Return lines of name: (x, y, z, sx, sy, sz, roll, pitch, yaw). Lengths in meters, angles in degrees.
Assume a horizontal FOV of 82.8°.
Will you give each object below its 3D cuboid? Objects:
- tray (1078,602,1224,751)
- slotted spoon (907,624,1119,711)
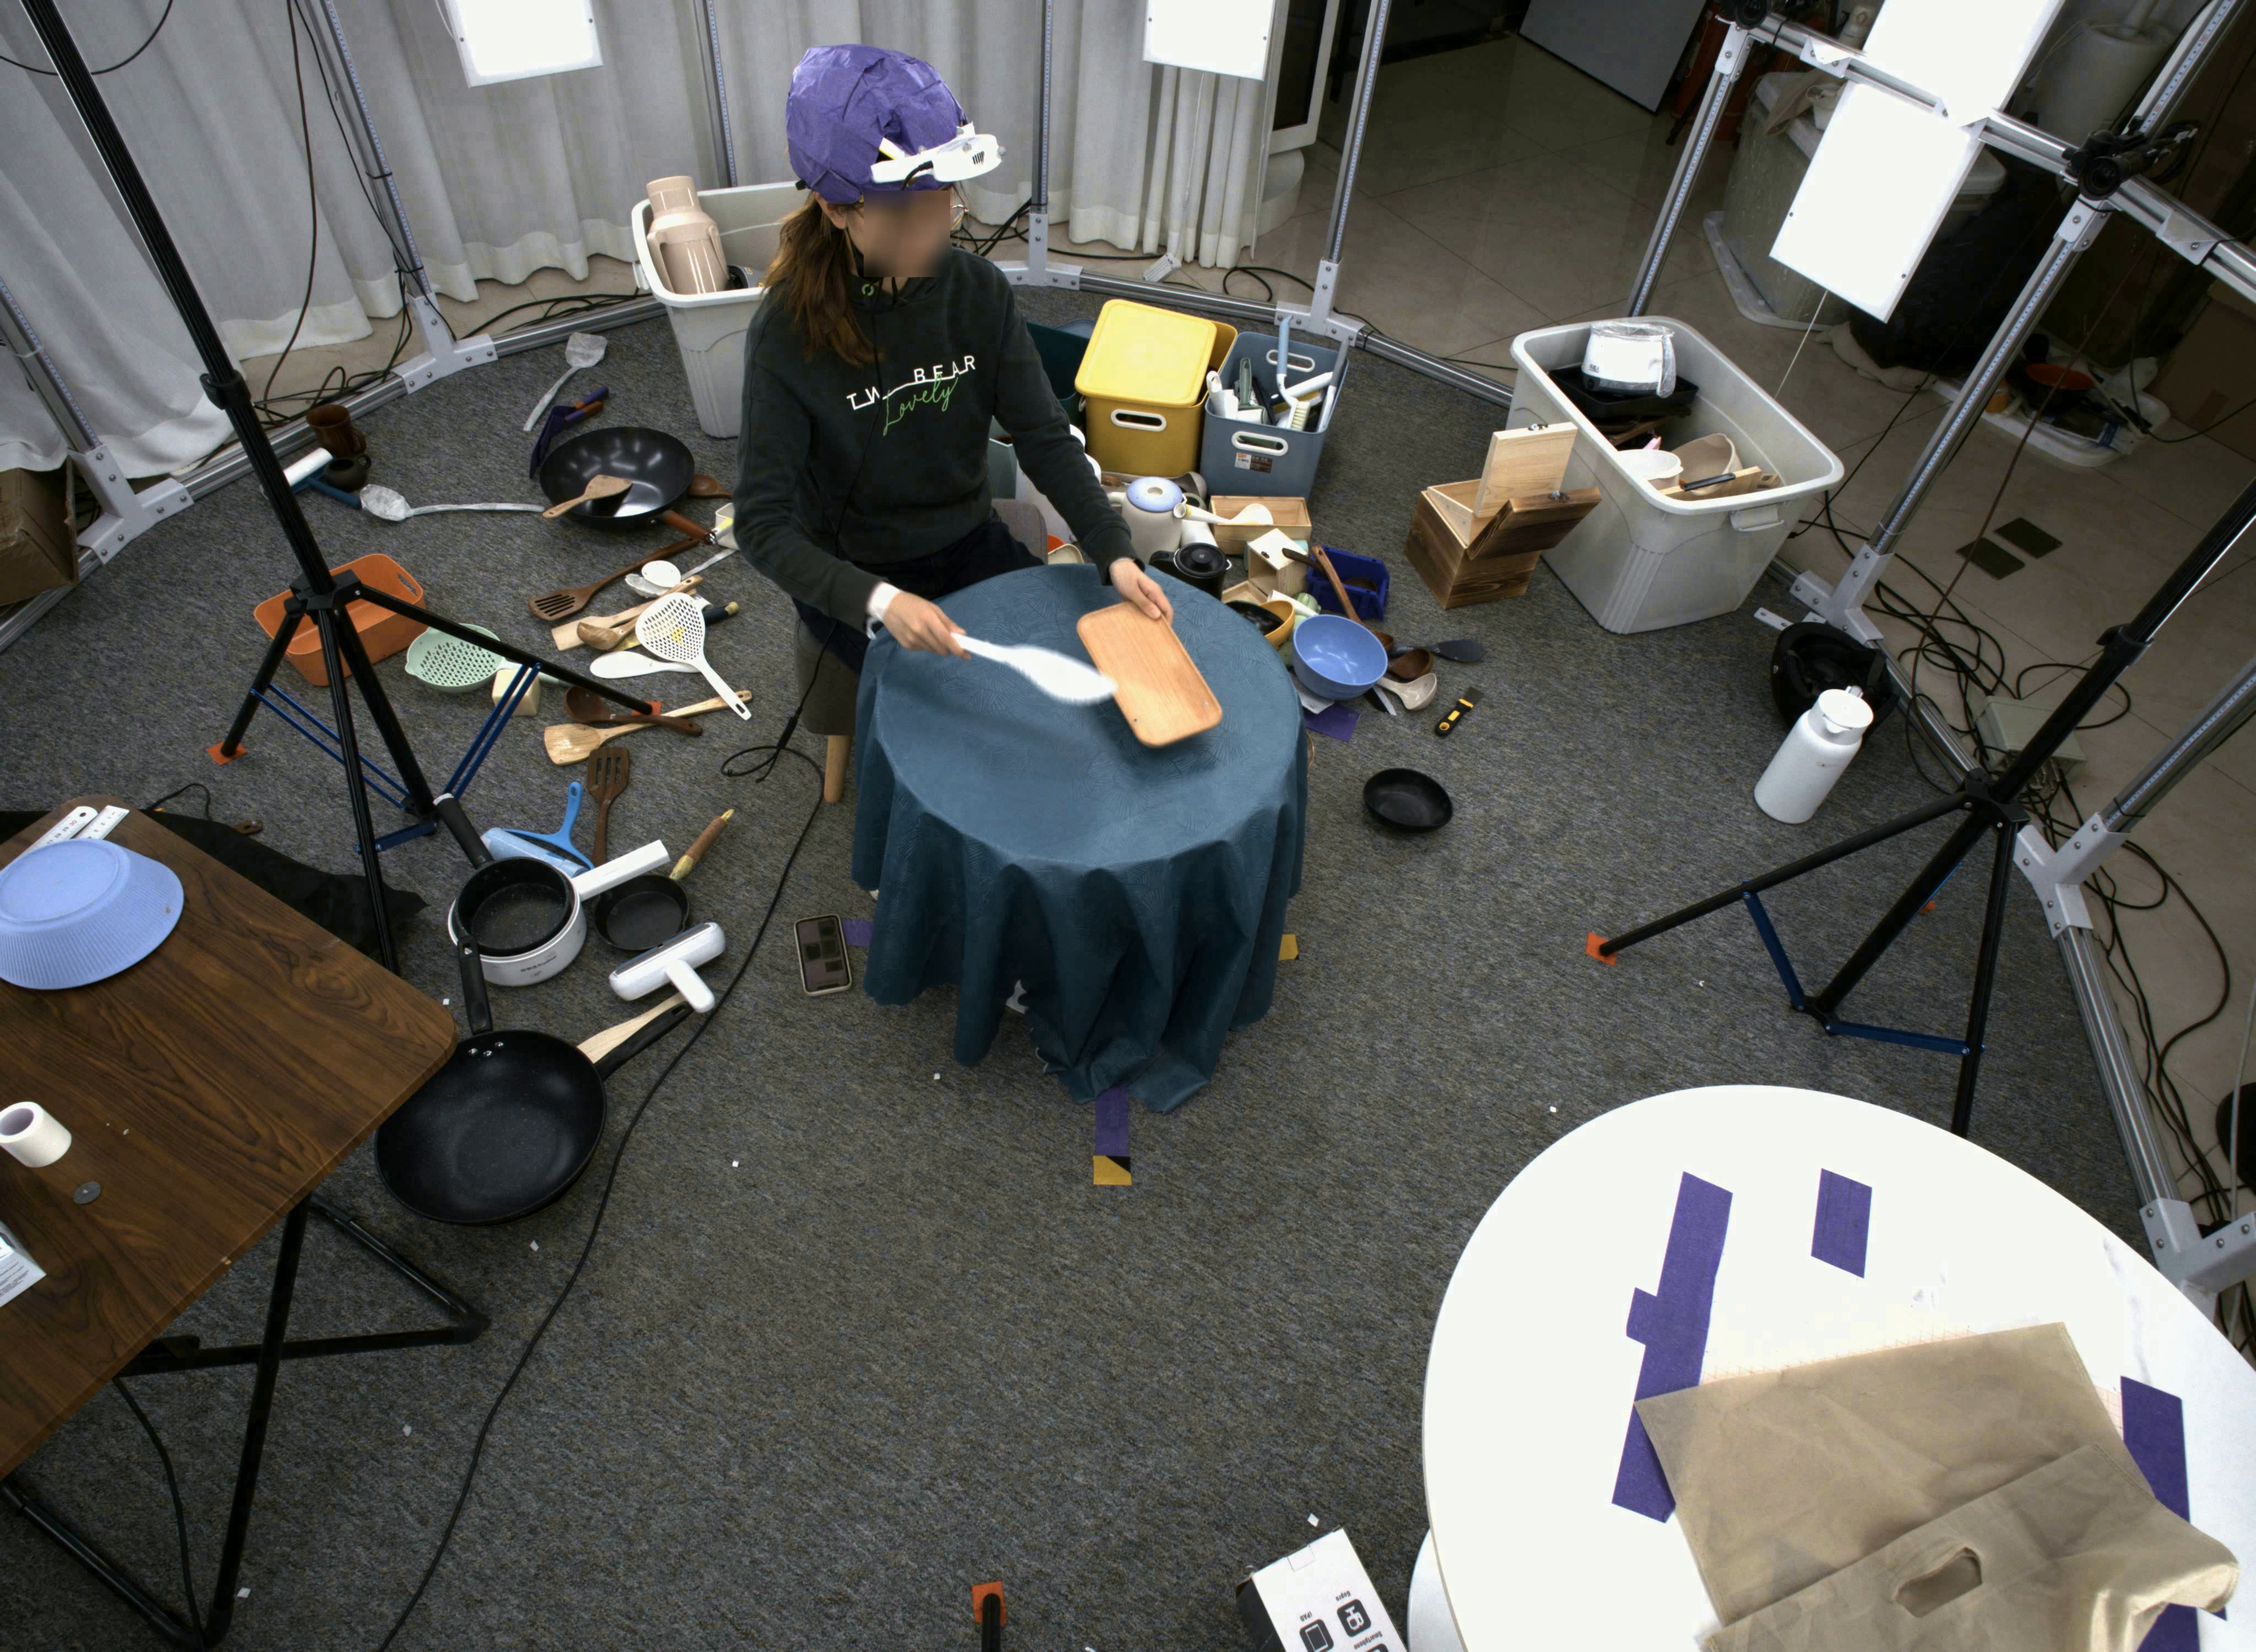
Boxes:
tray: (0.030, -0.213, 1.803, 0.131, 0.022, 0.256, -19, 58, -18)
slotted spoon: (-0.163, -0.219, 1.711, 0.354, 0.134, 0.046, 27, 92, 32)
